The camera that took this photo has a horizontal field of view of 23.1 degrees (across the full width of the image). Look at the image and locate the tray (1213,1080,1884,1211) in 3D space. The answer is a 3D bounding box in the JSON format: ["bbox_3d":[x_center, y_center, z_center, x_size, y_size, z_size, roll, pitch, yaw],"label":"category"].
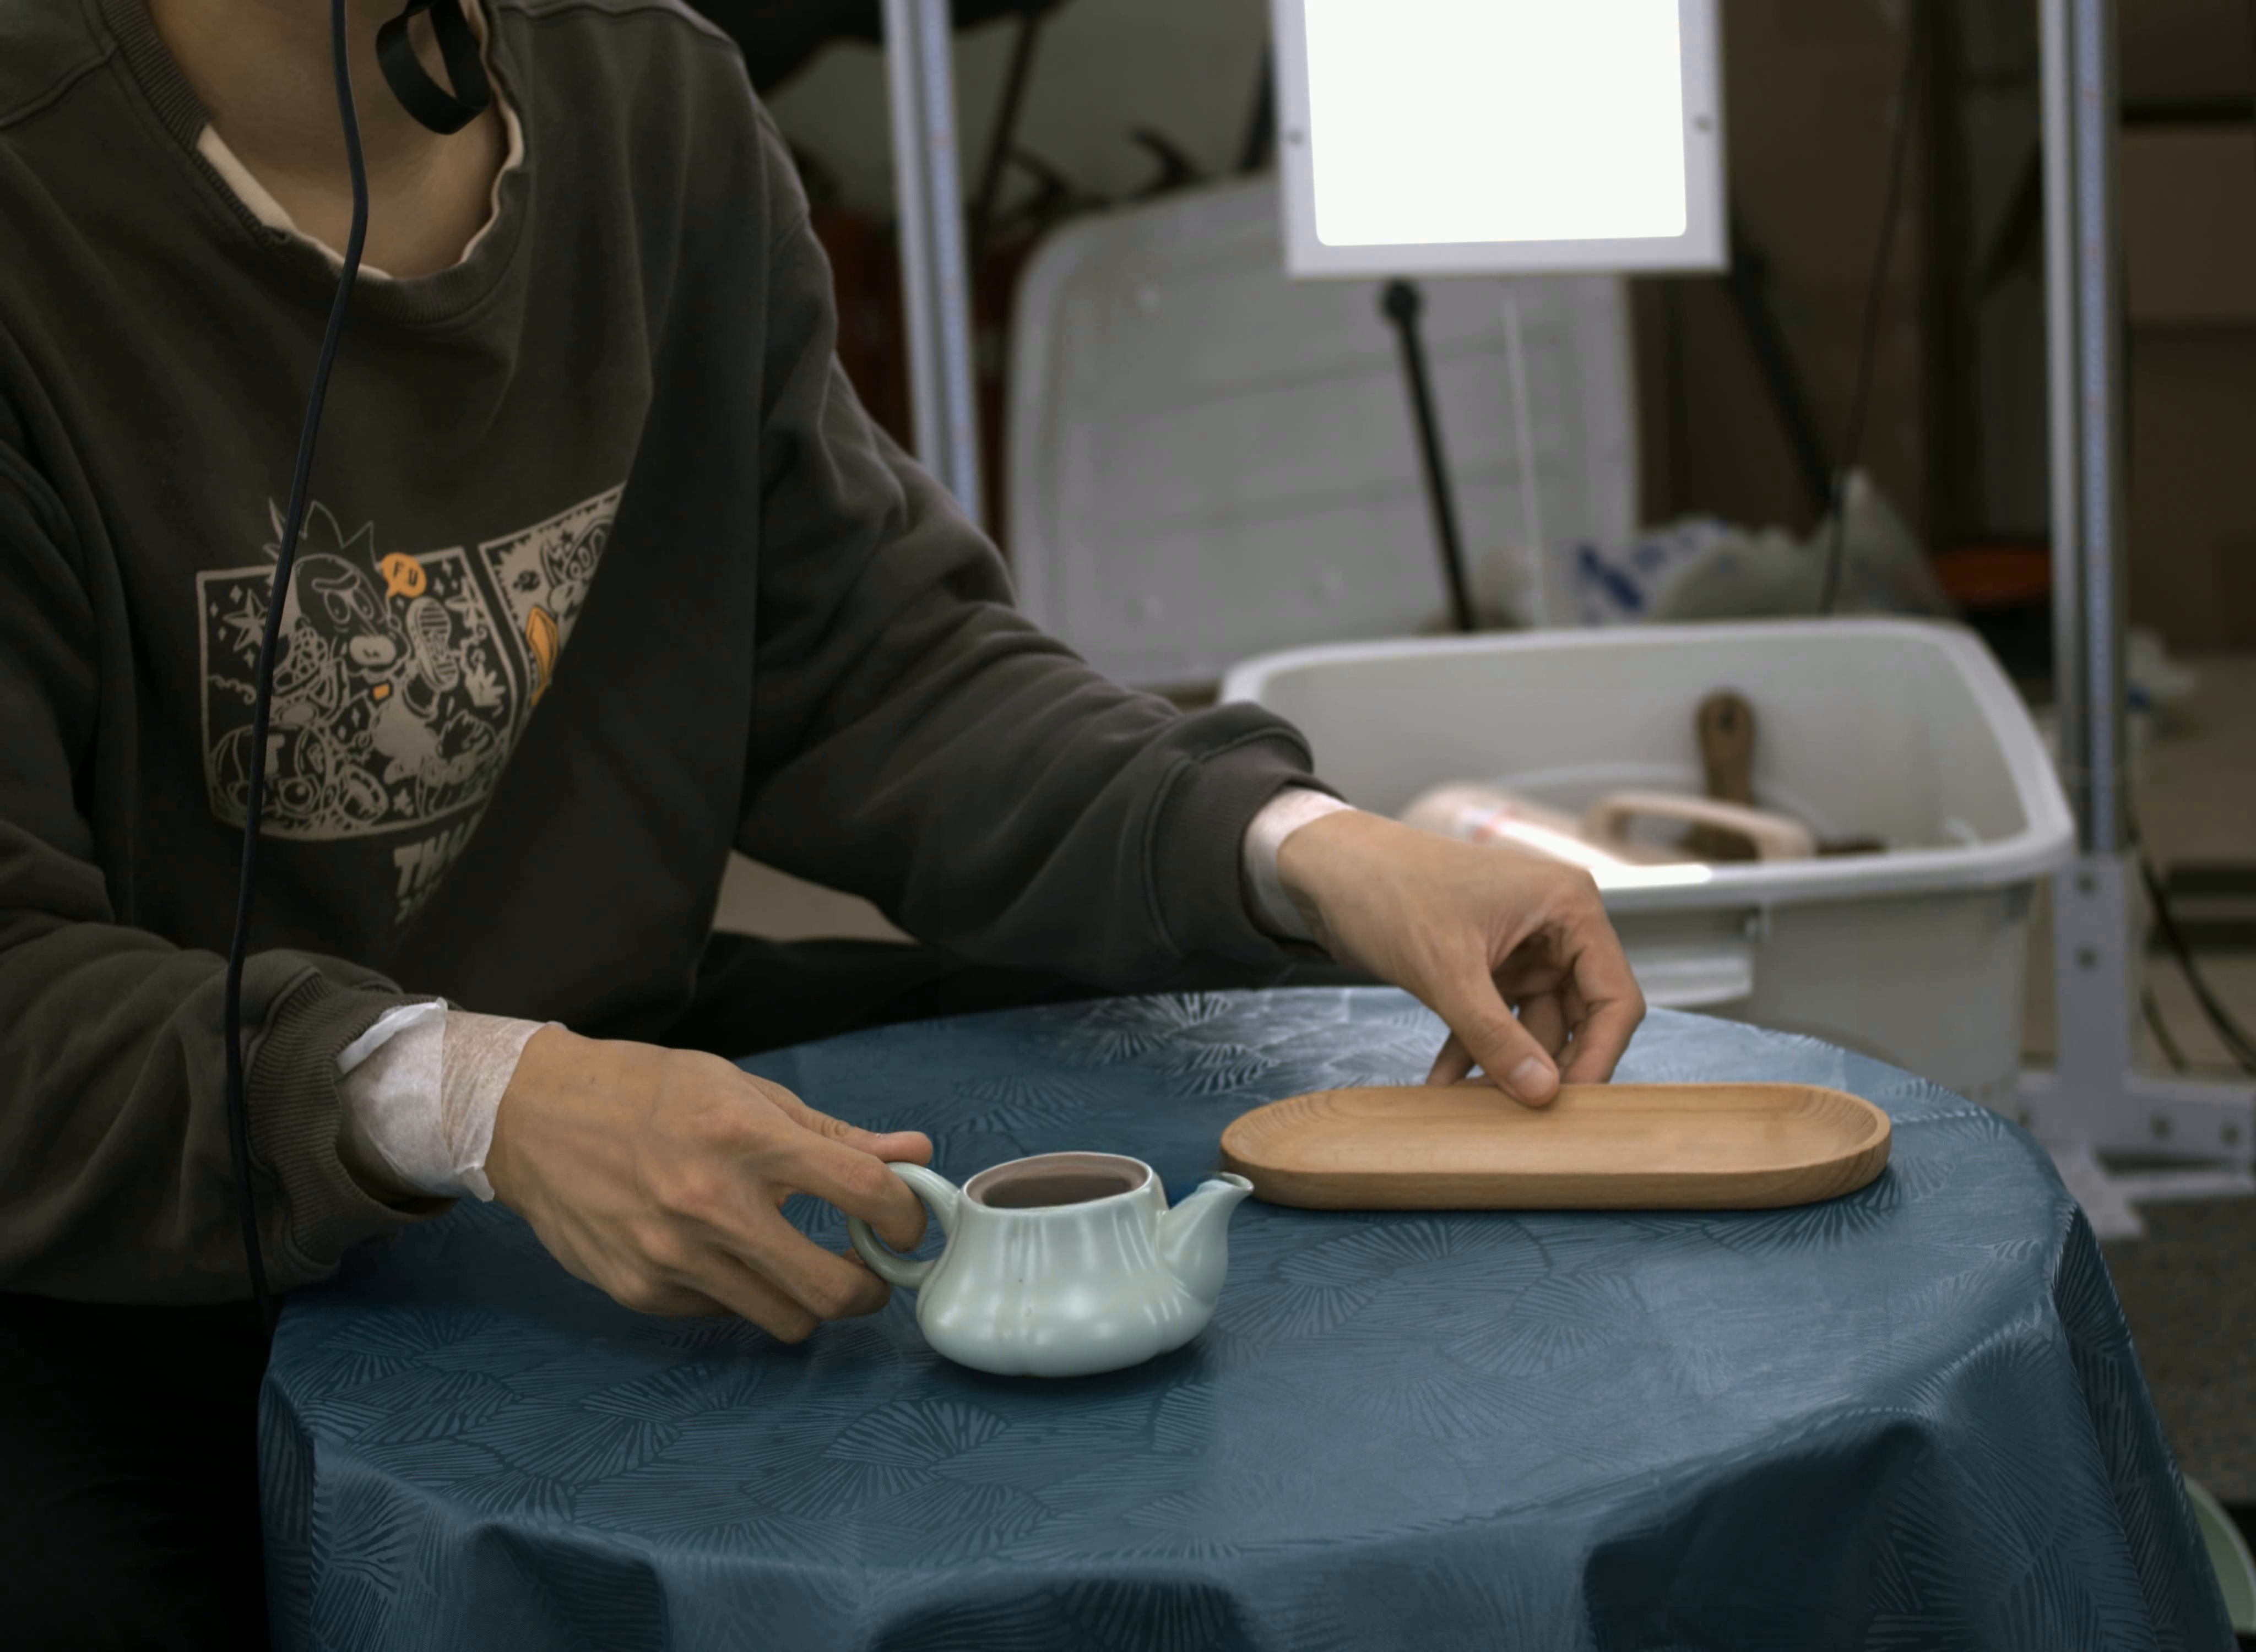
[{"bbox_3d":[0.144,0.110,1.877,0.233,0.020,0.100,-3,13,15],"label":"tray"}]

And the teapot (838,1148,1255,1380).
[{"bbox_3d":[-0.025,0.137,1.738,0.138,0.061,0.095,0,17,17],"label":"teapot"}]
